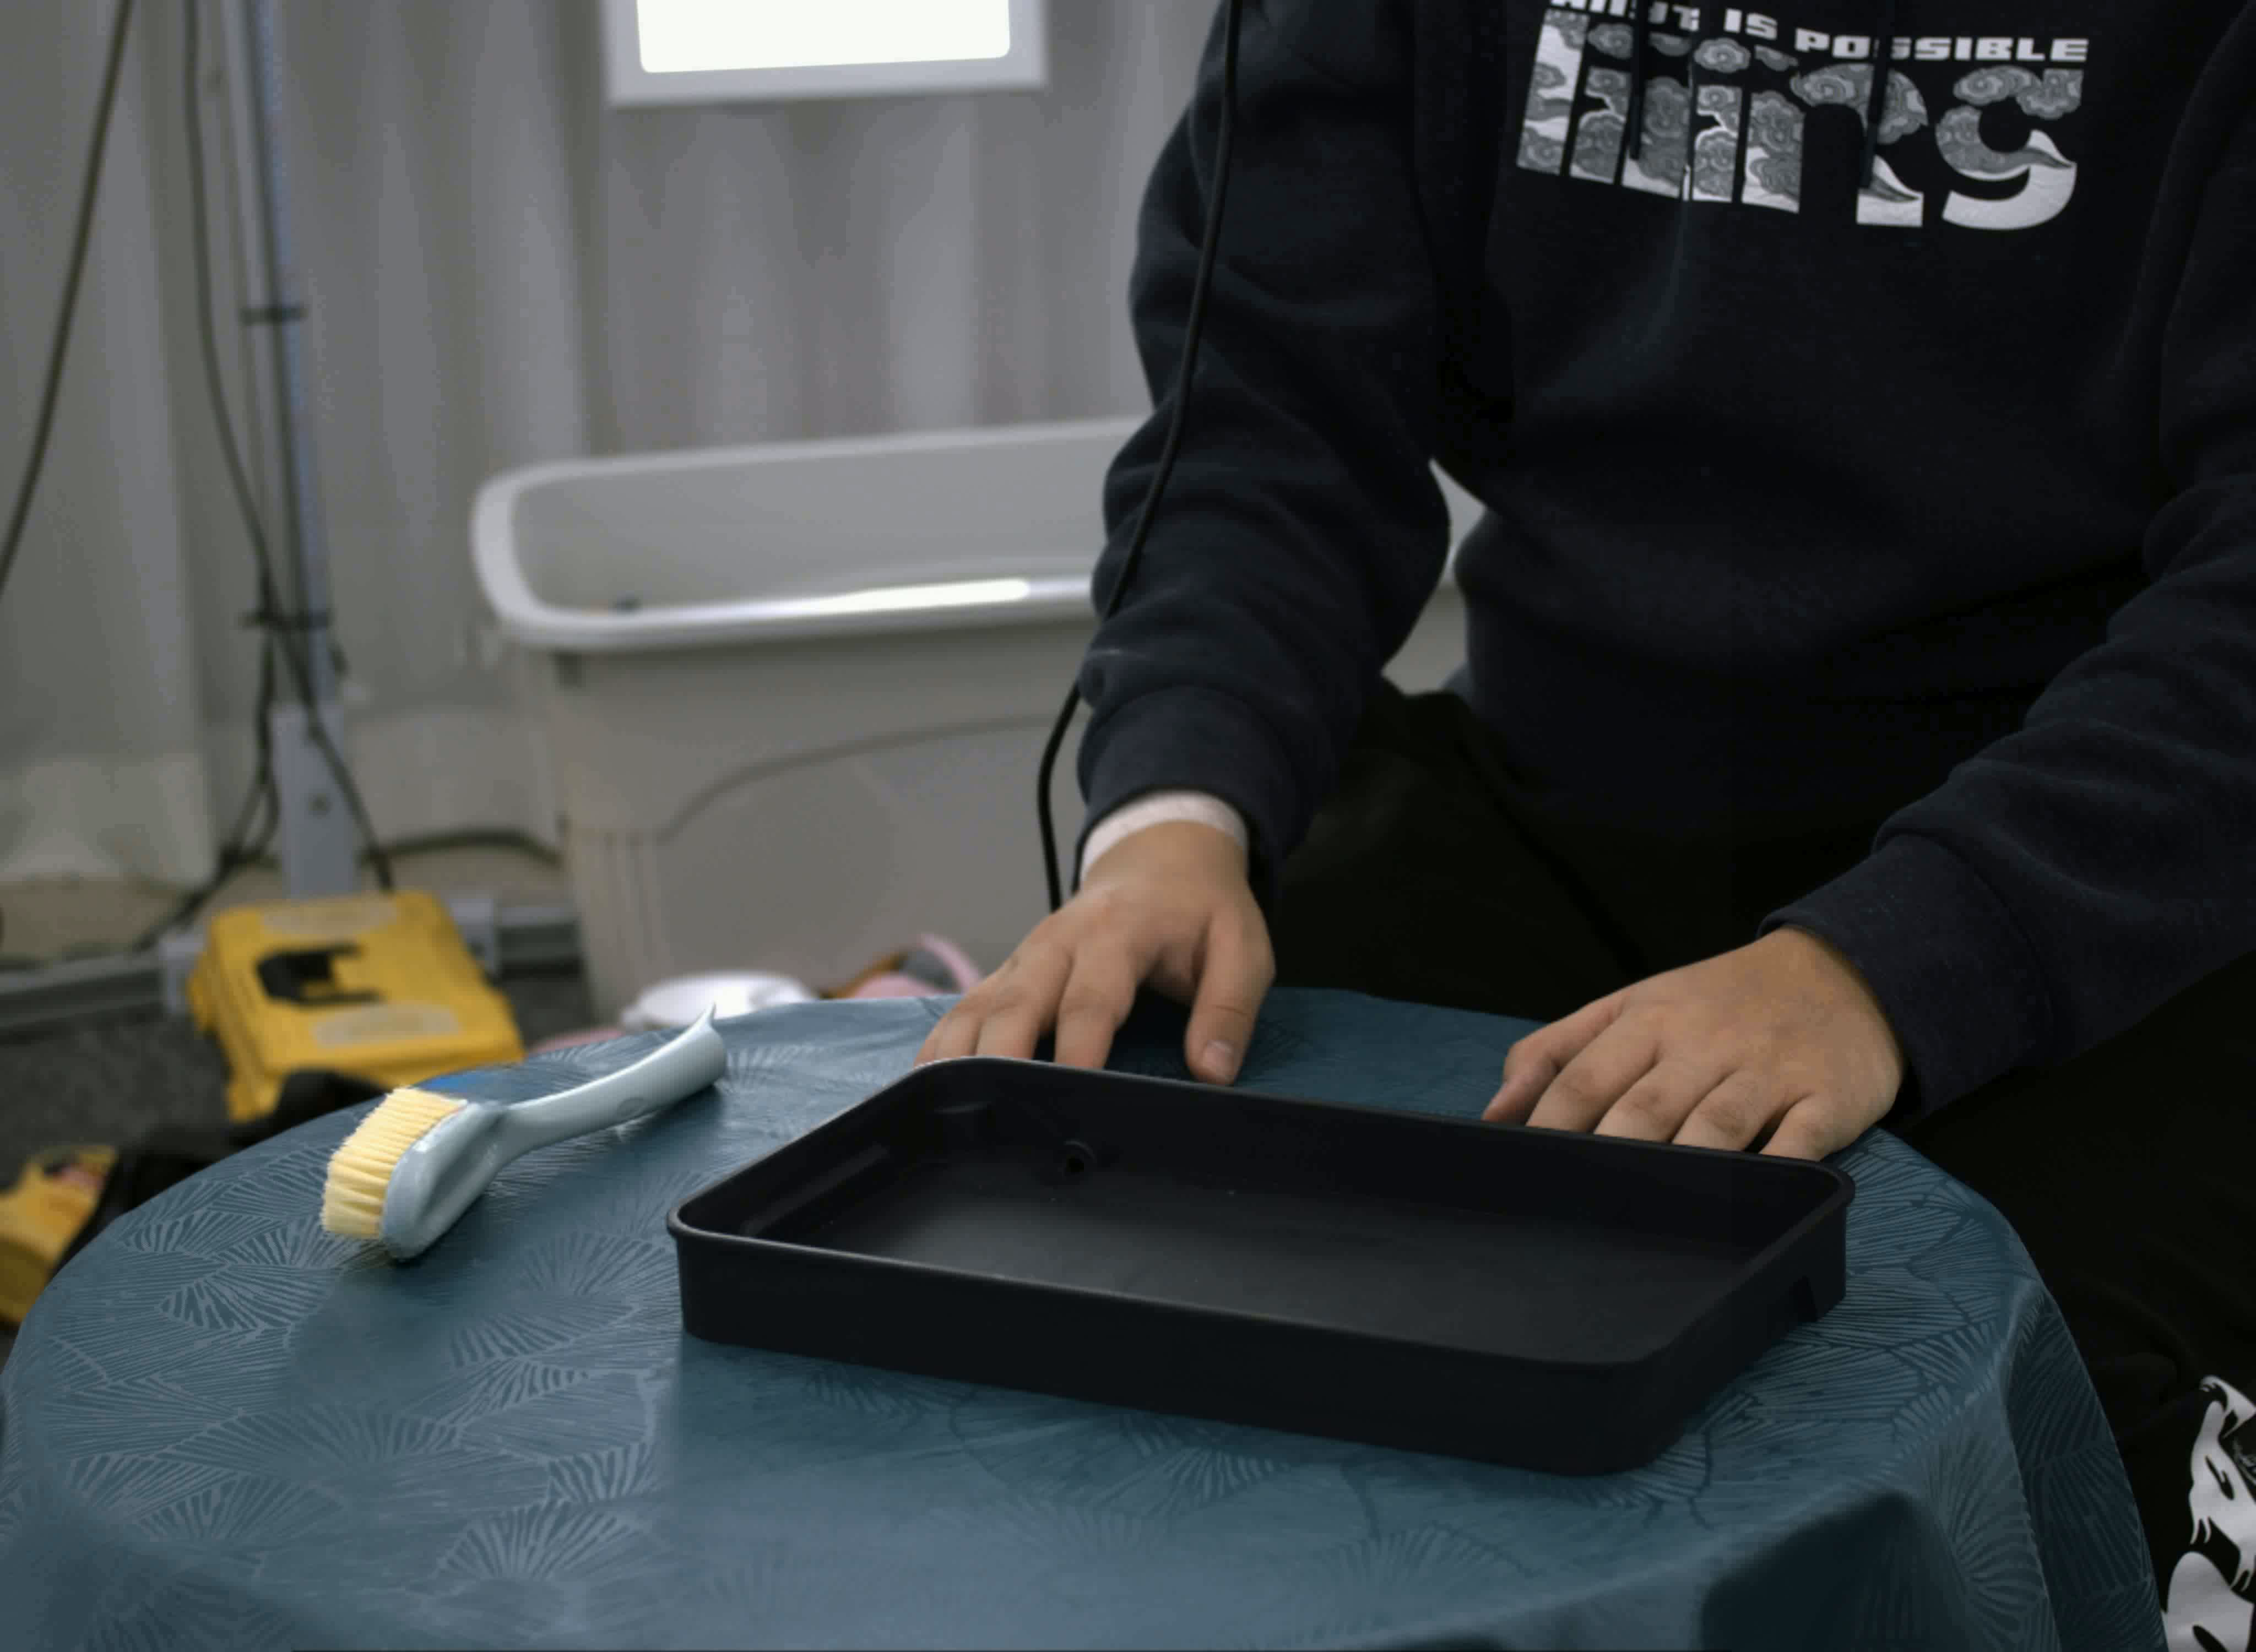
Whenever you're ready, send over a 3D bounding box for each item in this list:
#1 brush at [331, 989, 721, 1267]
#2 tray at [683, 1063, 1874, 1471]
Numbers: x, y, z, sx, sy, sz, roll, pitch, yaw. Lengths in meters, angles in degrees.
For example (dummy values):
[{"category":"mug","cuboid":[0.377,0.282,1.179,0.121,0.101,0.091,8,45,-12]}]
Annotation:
[{"category":"brush","cuboid":[-0.192,0.091,1.768,0.050,0.037,0.229,11,19,21]},{"category":"tray","cuboid":[0.044,0.125,1.602,0.318,0.037,0.184,5,16,27]}]
